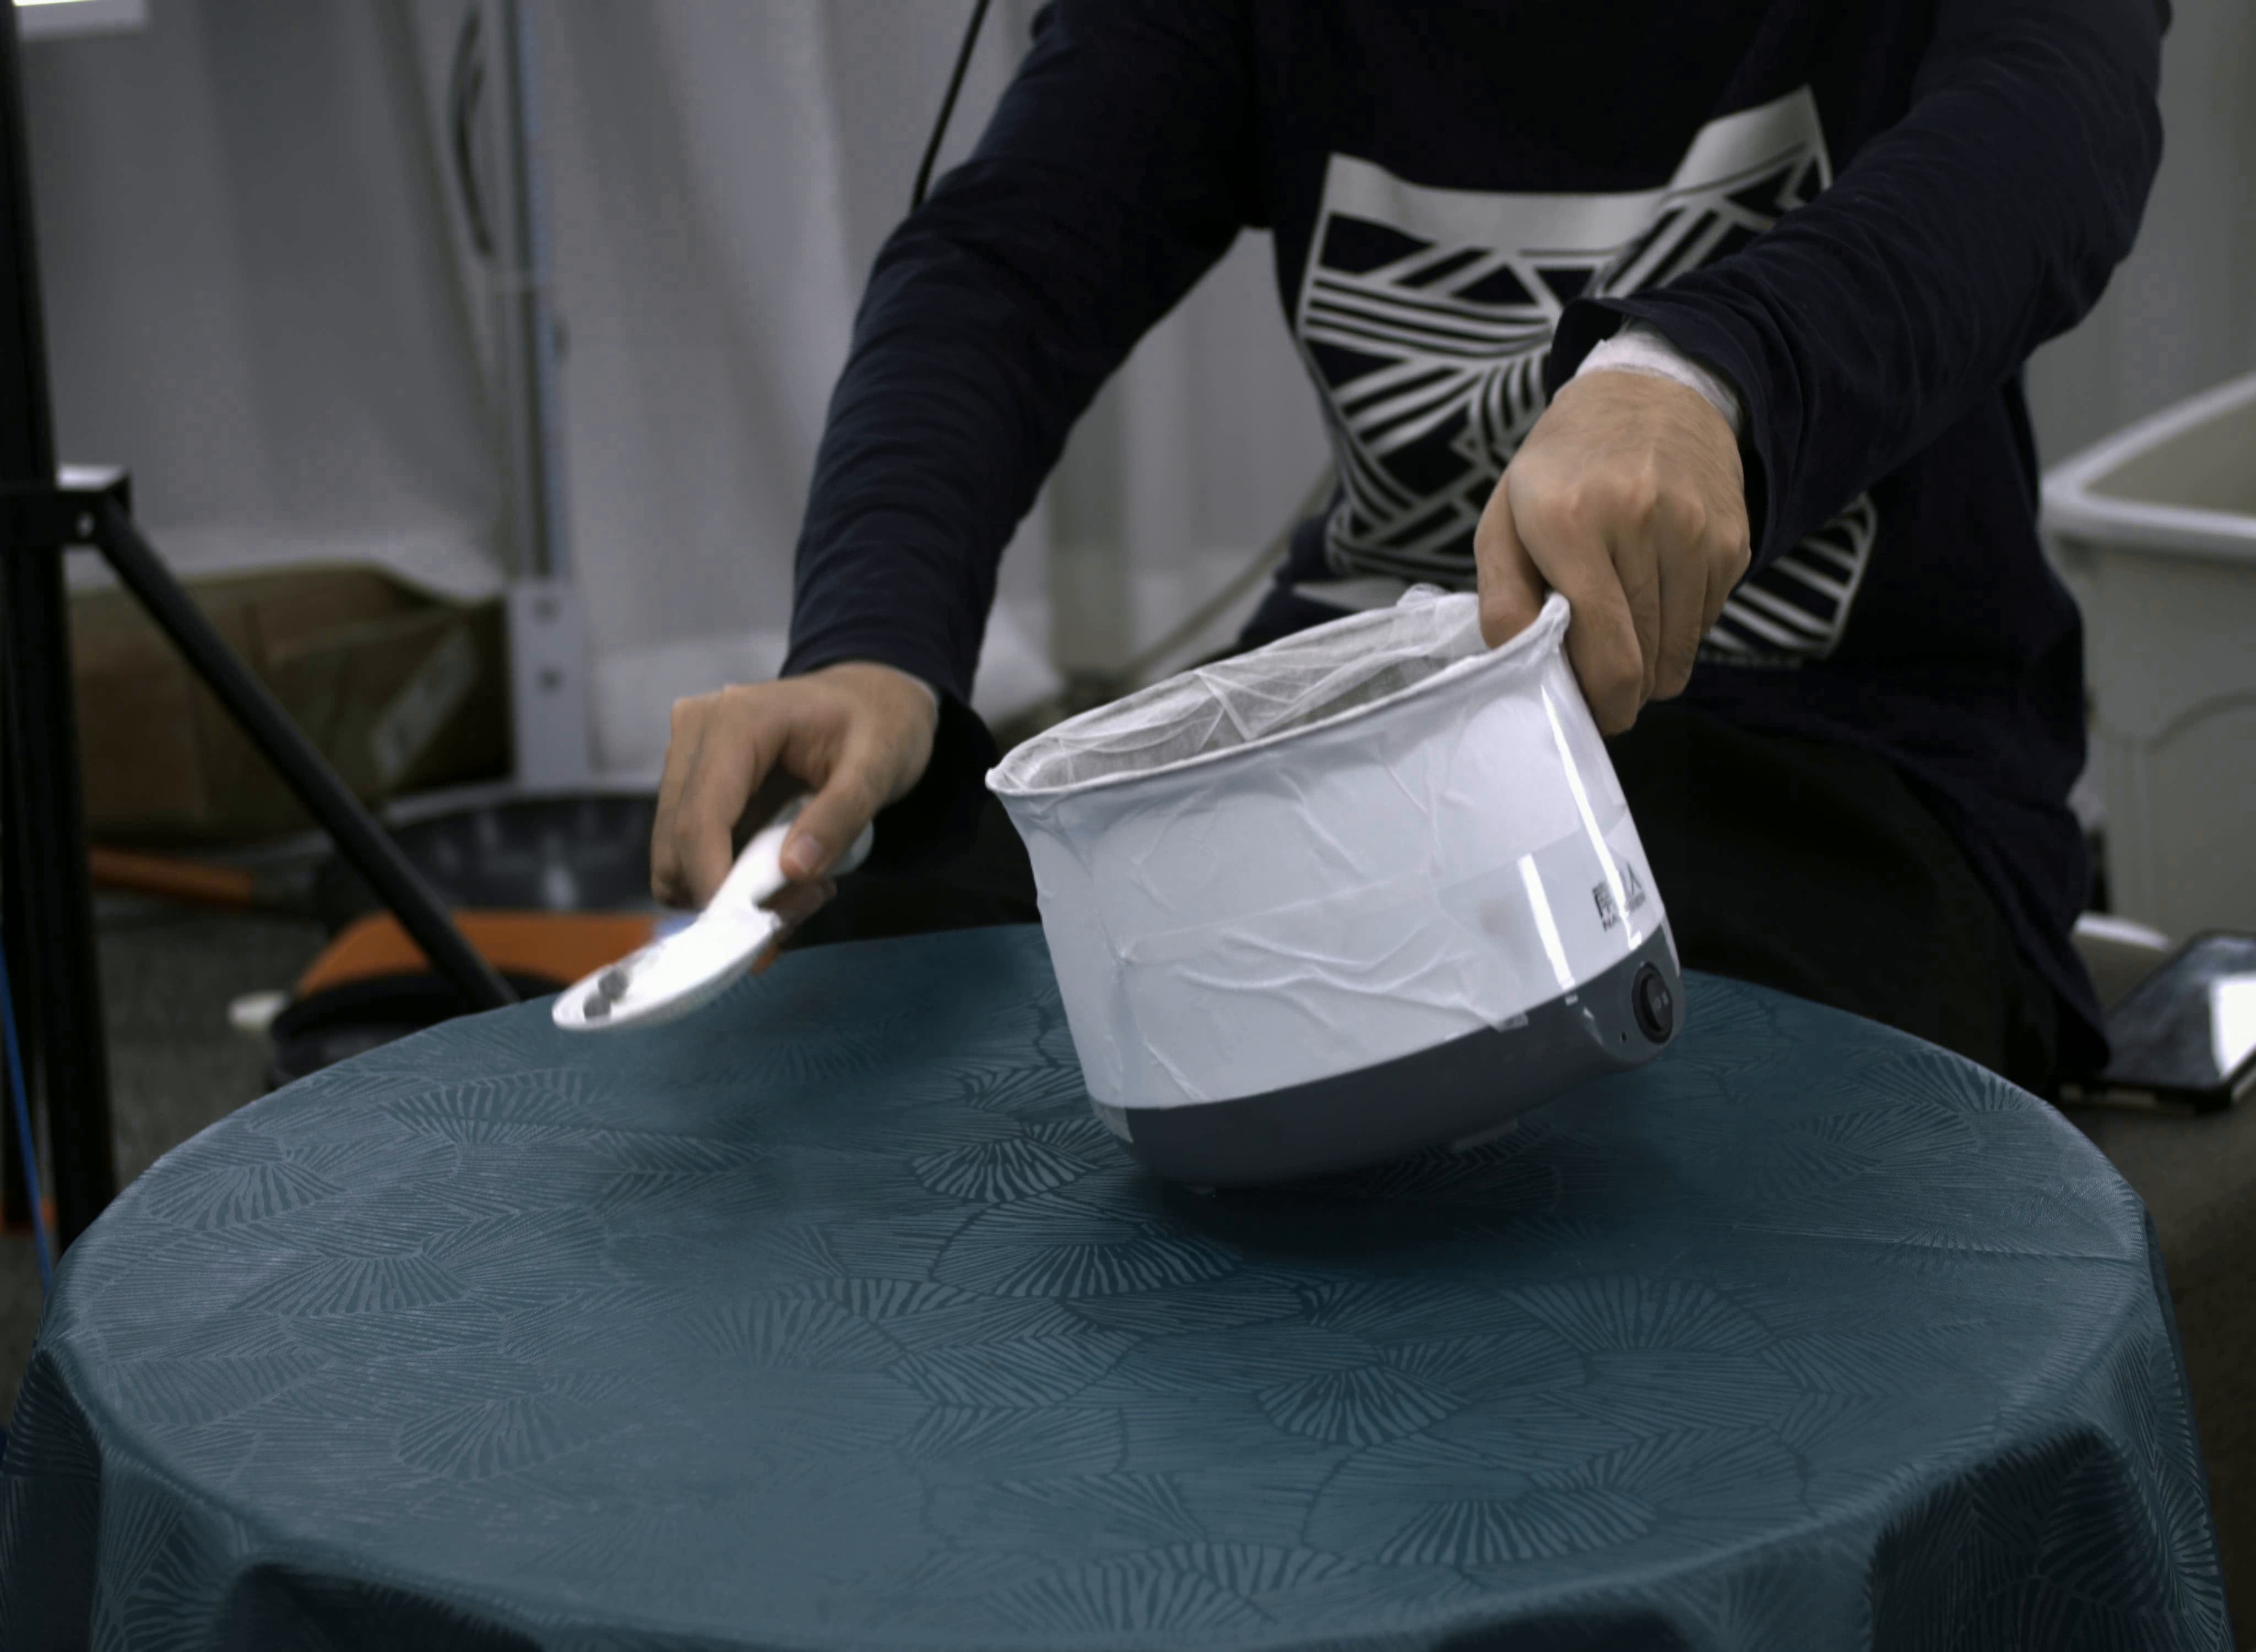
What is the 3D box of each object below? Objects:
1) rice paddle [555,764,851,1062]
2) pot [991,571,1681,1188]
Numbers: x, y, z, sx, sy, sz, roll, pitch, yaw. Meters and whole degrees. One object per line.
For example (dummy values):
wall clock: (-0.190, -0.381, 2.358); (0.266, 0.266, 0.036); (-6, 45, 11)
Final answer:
rice paddle: (-0.126, 0.029, 1.657); (0.069, 0.029, 0.204); (-11, 18, 17)
pot: (0.074, 0.010, 1.567); (0.181, 0.136, 0.230); (-10, 13, 30)
